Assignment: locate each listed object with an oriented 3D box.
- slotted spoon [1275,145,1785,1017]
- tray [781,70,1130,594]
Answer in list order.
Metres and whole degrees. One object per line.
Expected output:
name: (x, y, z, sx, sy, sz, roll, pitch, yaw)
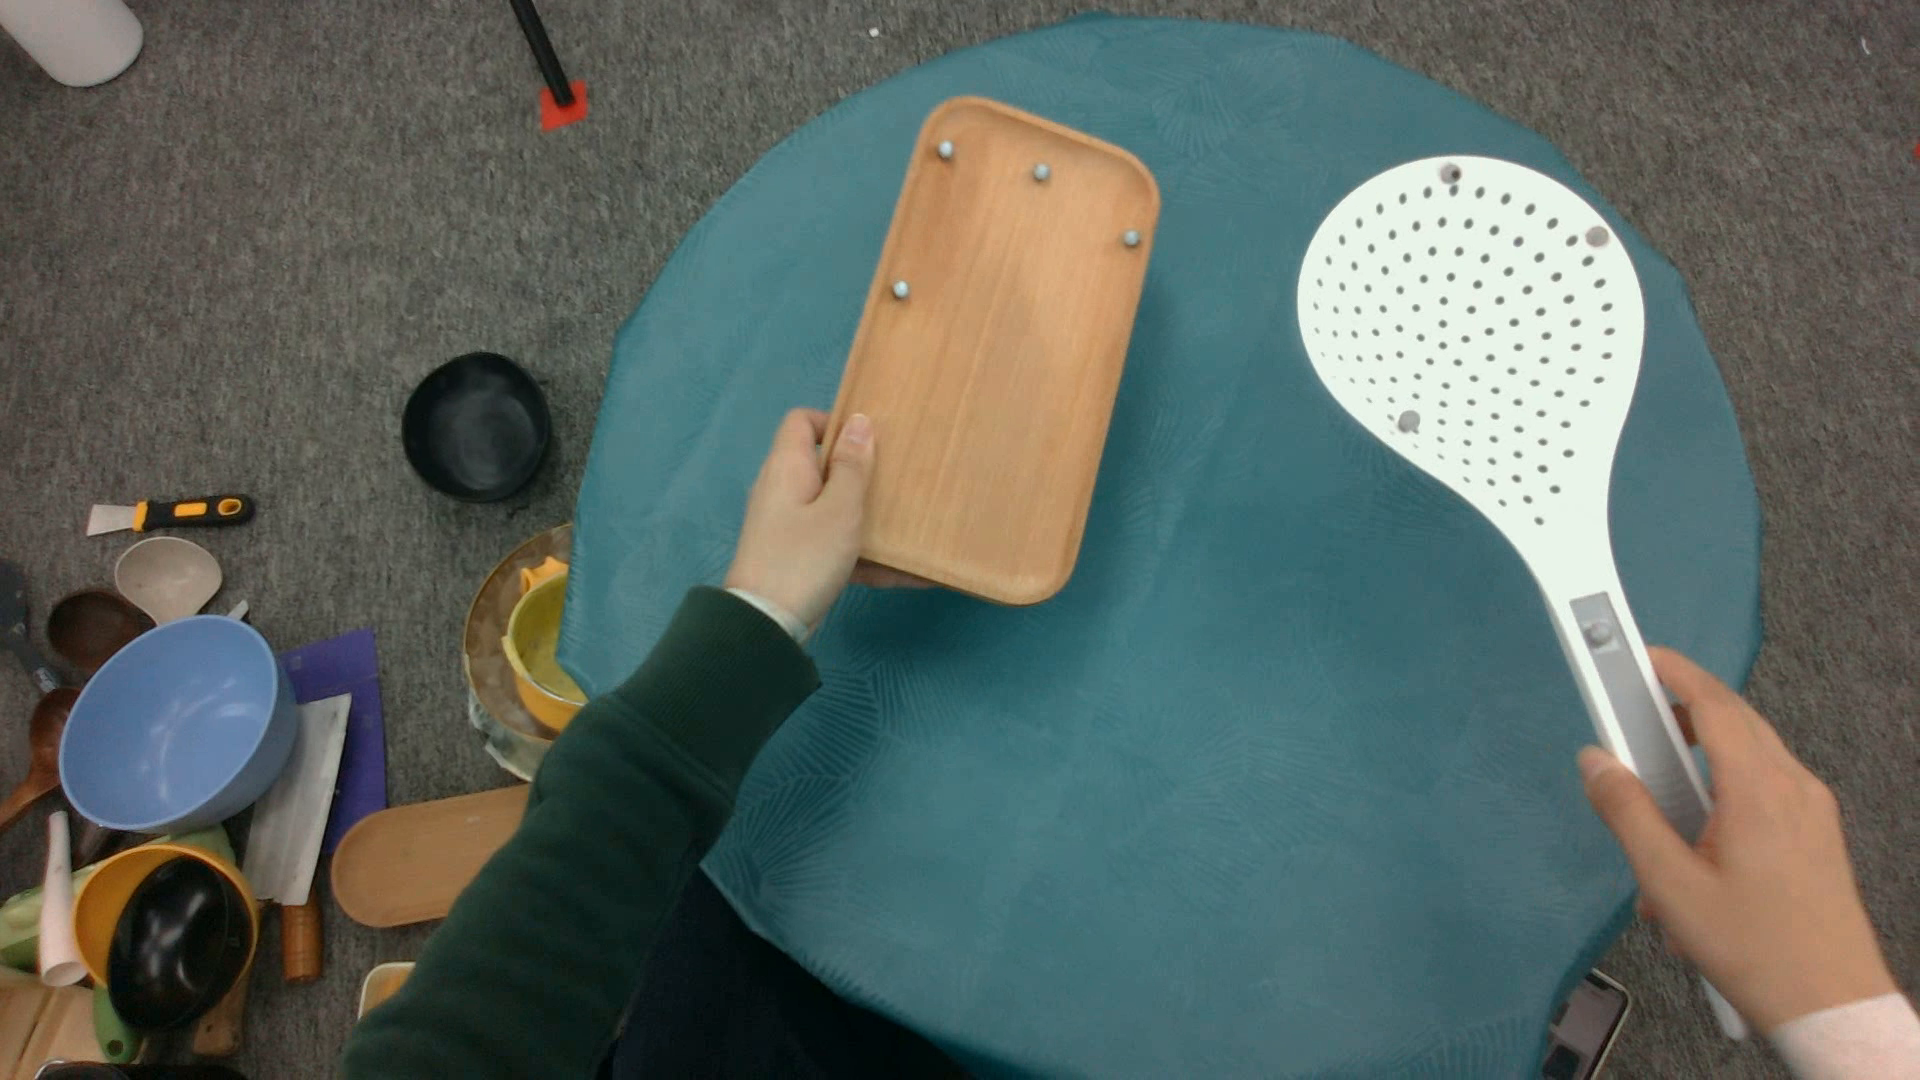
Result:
slotted spoon: (0.226, 0.002, 0.528, 0.136, 0.045, 0.350, -16, 68, -1)
tray: (0.003, -0.102, 0.648, 0.130, 0.023, 0.251, 17, 71, -9)
